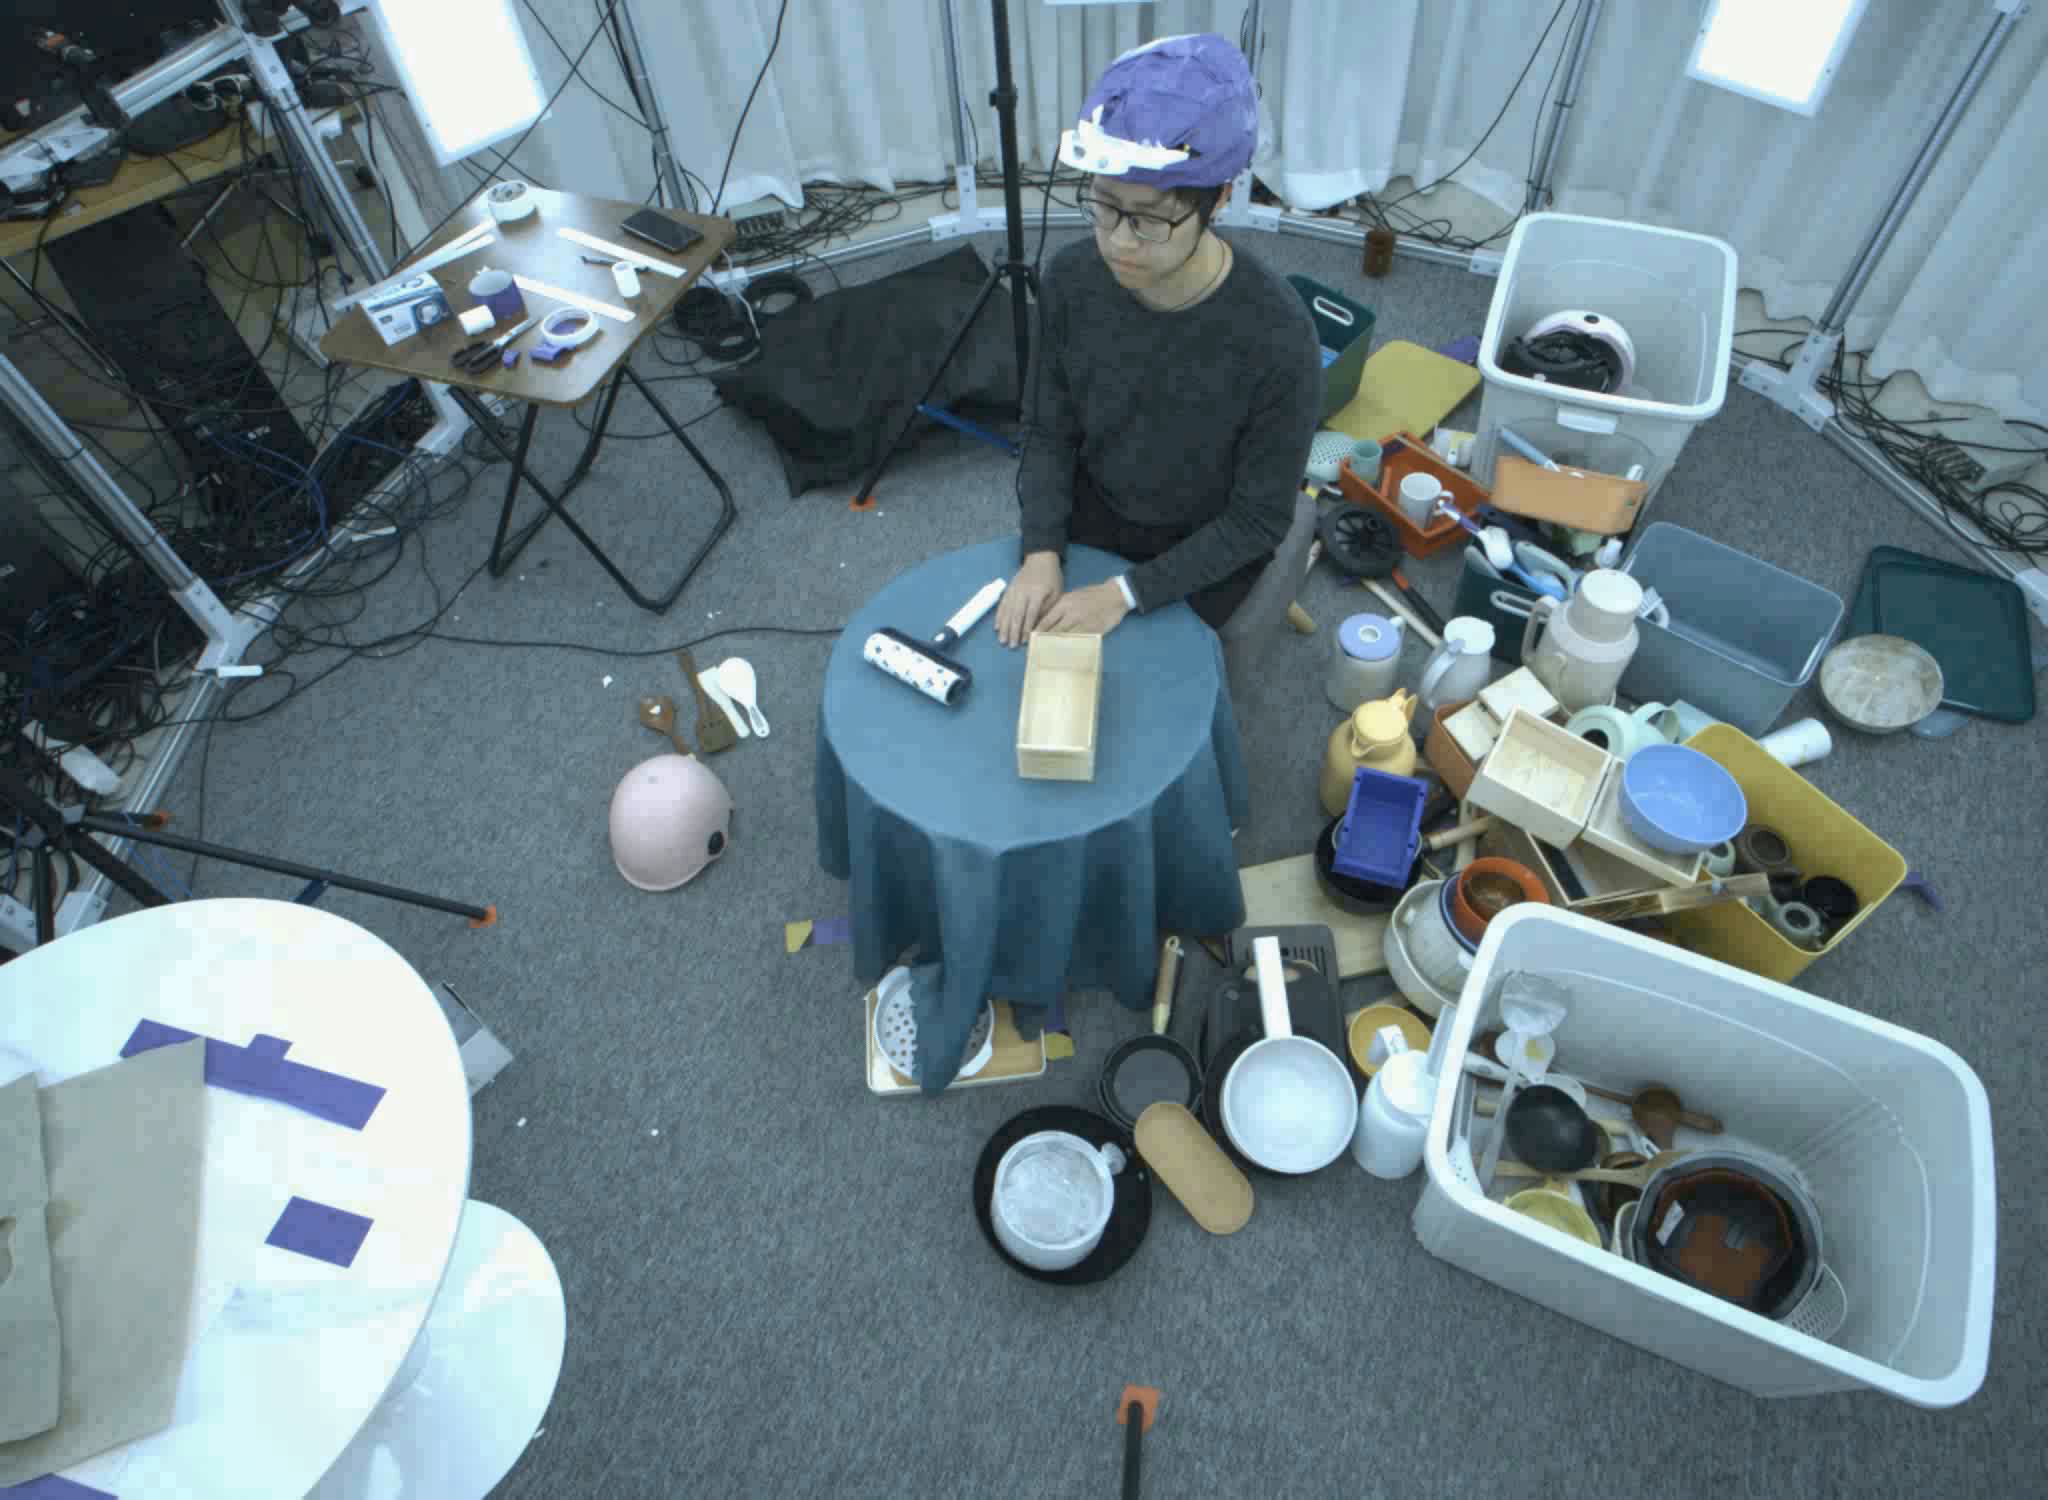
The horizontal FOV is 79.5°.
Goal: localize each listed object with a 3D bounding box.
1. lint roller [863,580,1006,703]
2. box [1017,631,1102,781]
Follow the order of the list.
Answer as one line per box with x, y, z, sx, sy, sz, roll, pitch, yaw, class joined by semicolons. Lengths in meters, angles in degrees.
-0.110;-0.191;1.900;0.173;0.051;0.248;29;60;21;lint roller
0.054;-0.066;1.784;0.107;0.081;0.209;3;55;5;box
